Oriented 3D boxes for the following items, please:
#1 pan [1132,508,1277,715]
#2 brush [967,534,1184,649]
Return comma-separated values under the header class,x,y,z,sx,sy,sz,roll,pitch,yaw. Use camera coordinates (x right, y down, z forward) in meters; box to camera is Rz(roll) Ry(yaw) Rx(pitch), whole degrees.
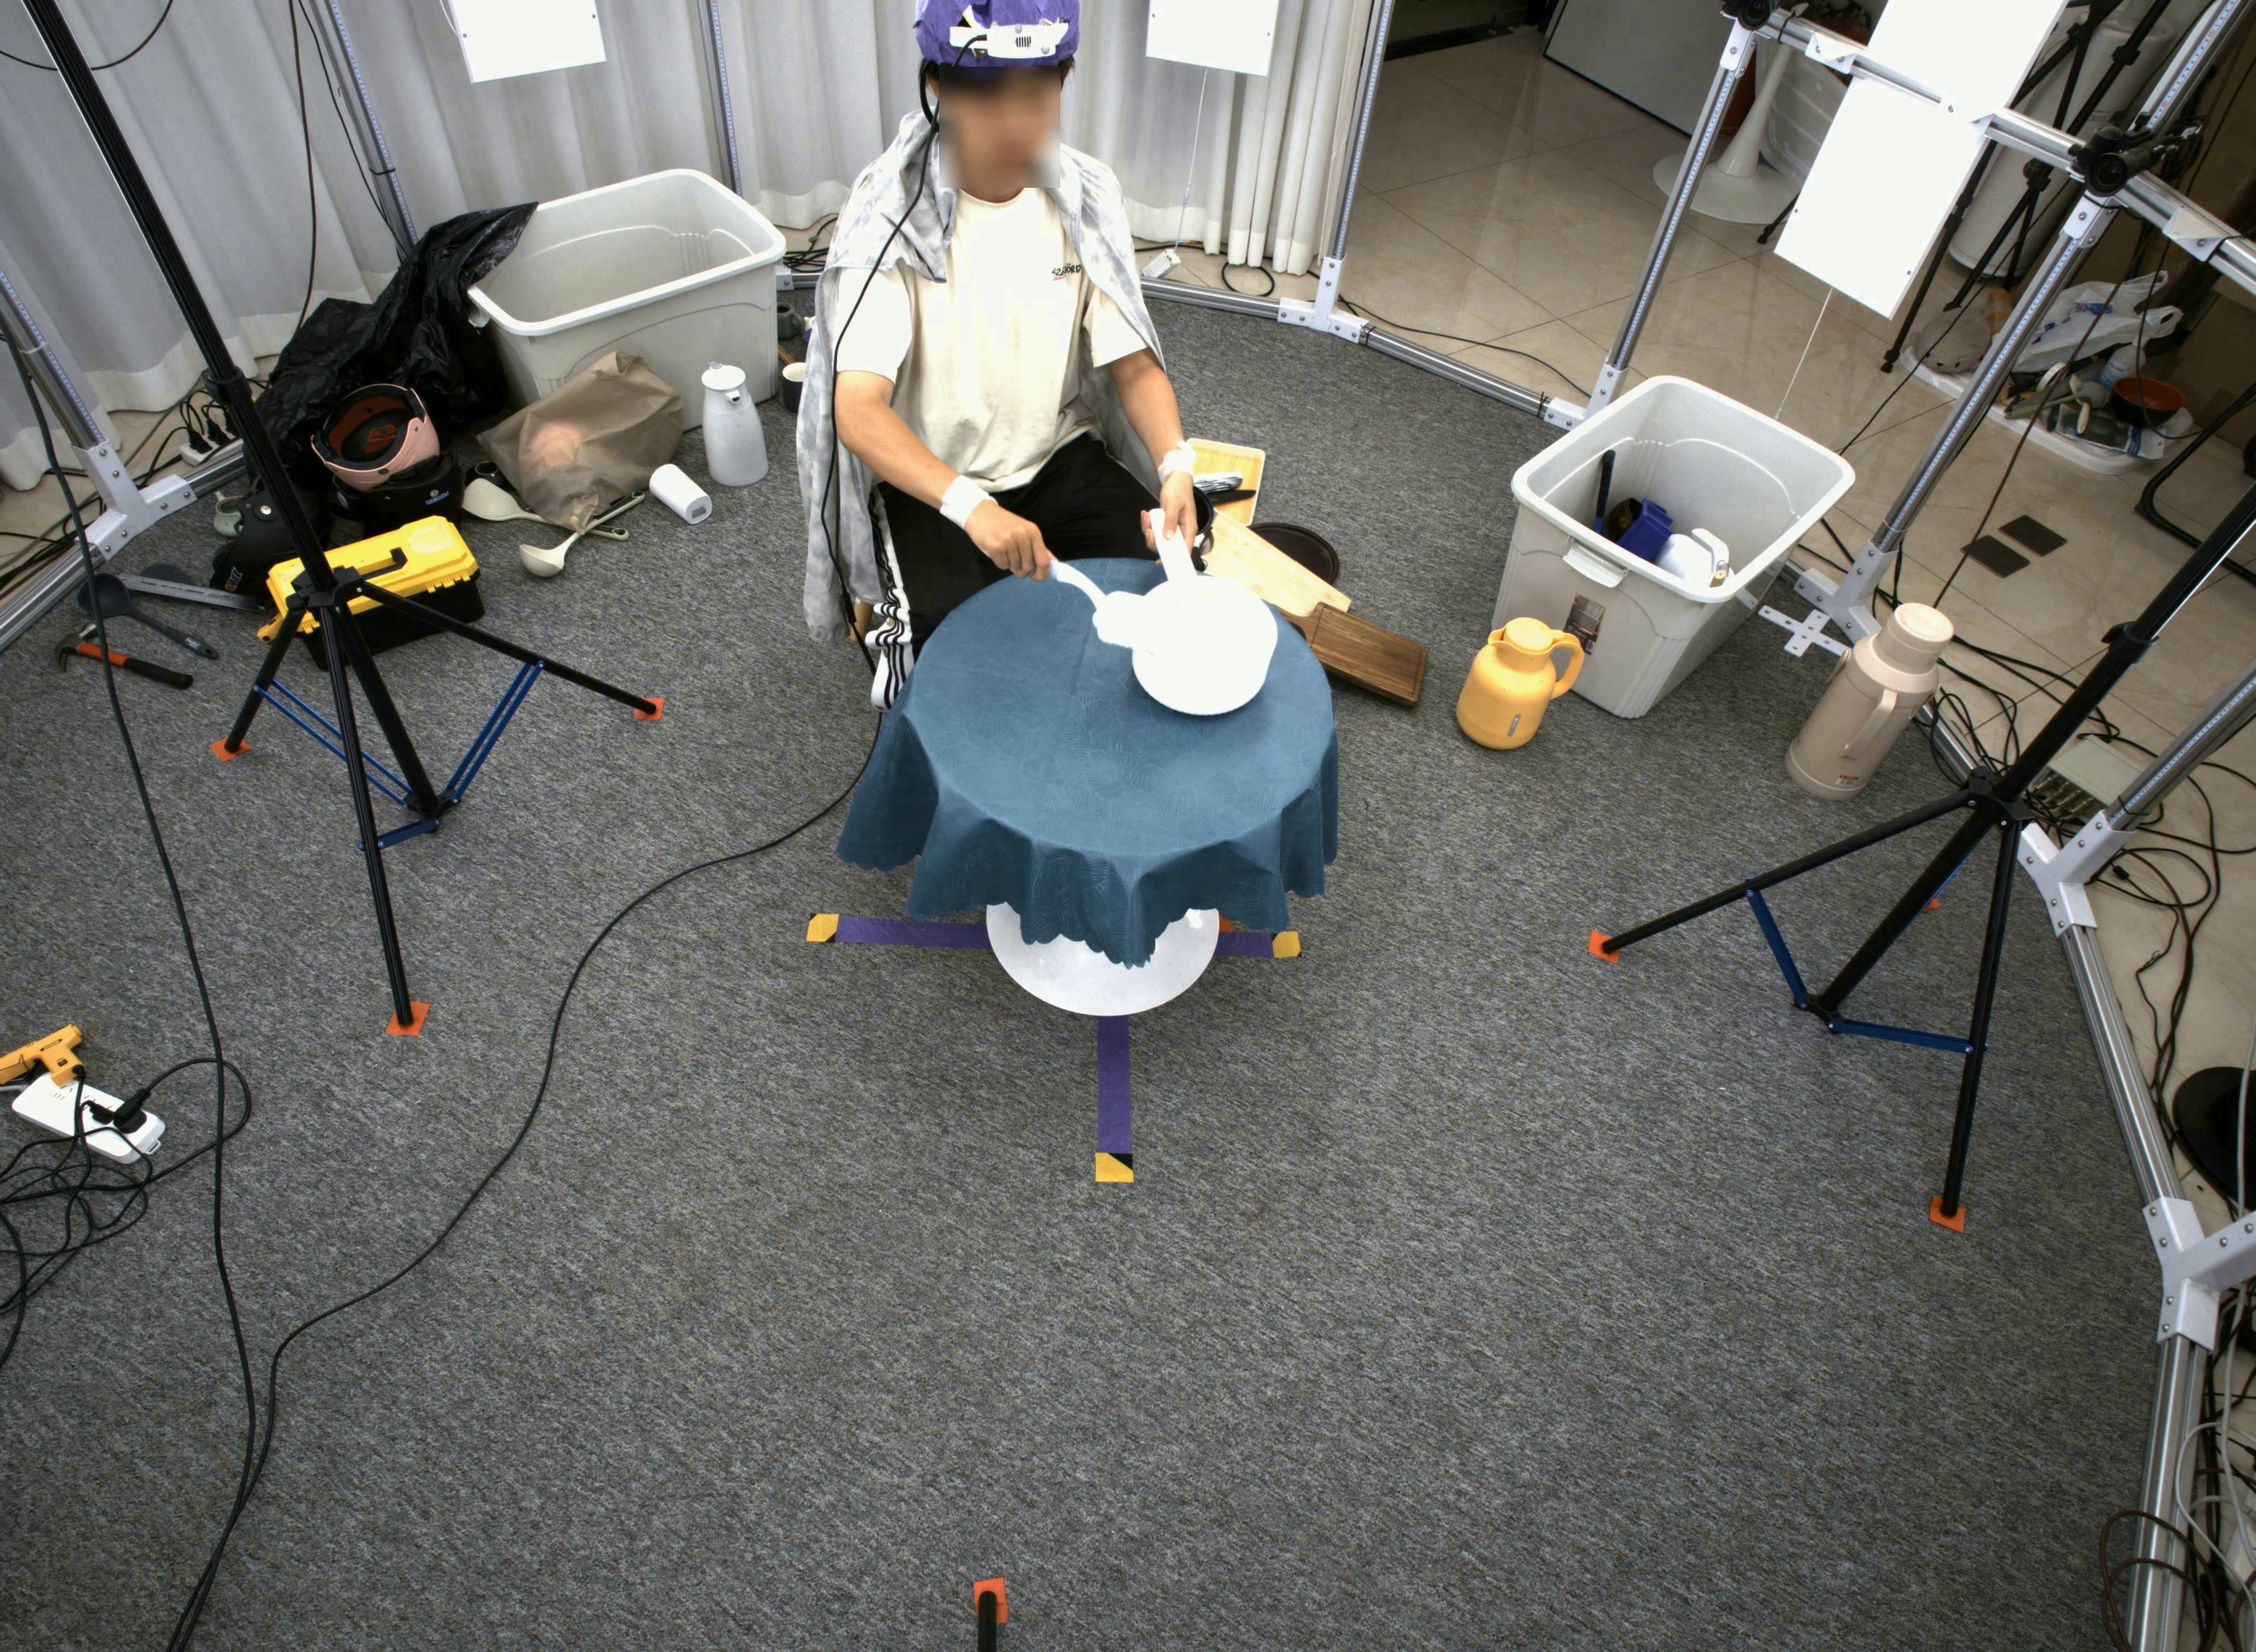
class,x,y,z,sx,sy,sz,roll,pitch,yaw
pan,0.087,-0.311,1.865,0.201,0.099,0.363,-8,52,-11
brush,-0.073,-0.314,1.760,0.327,0.083,0.083,23,18,16
